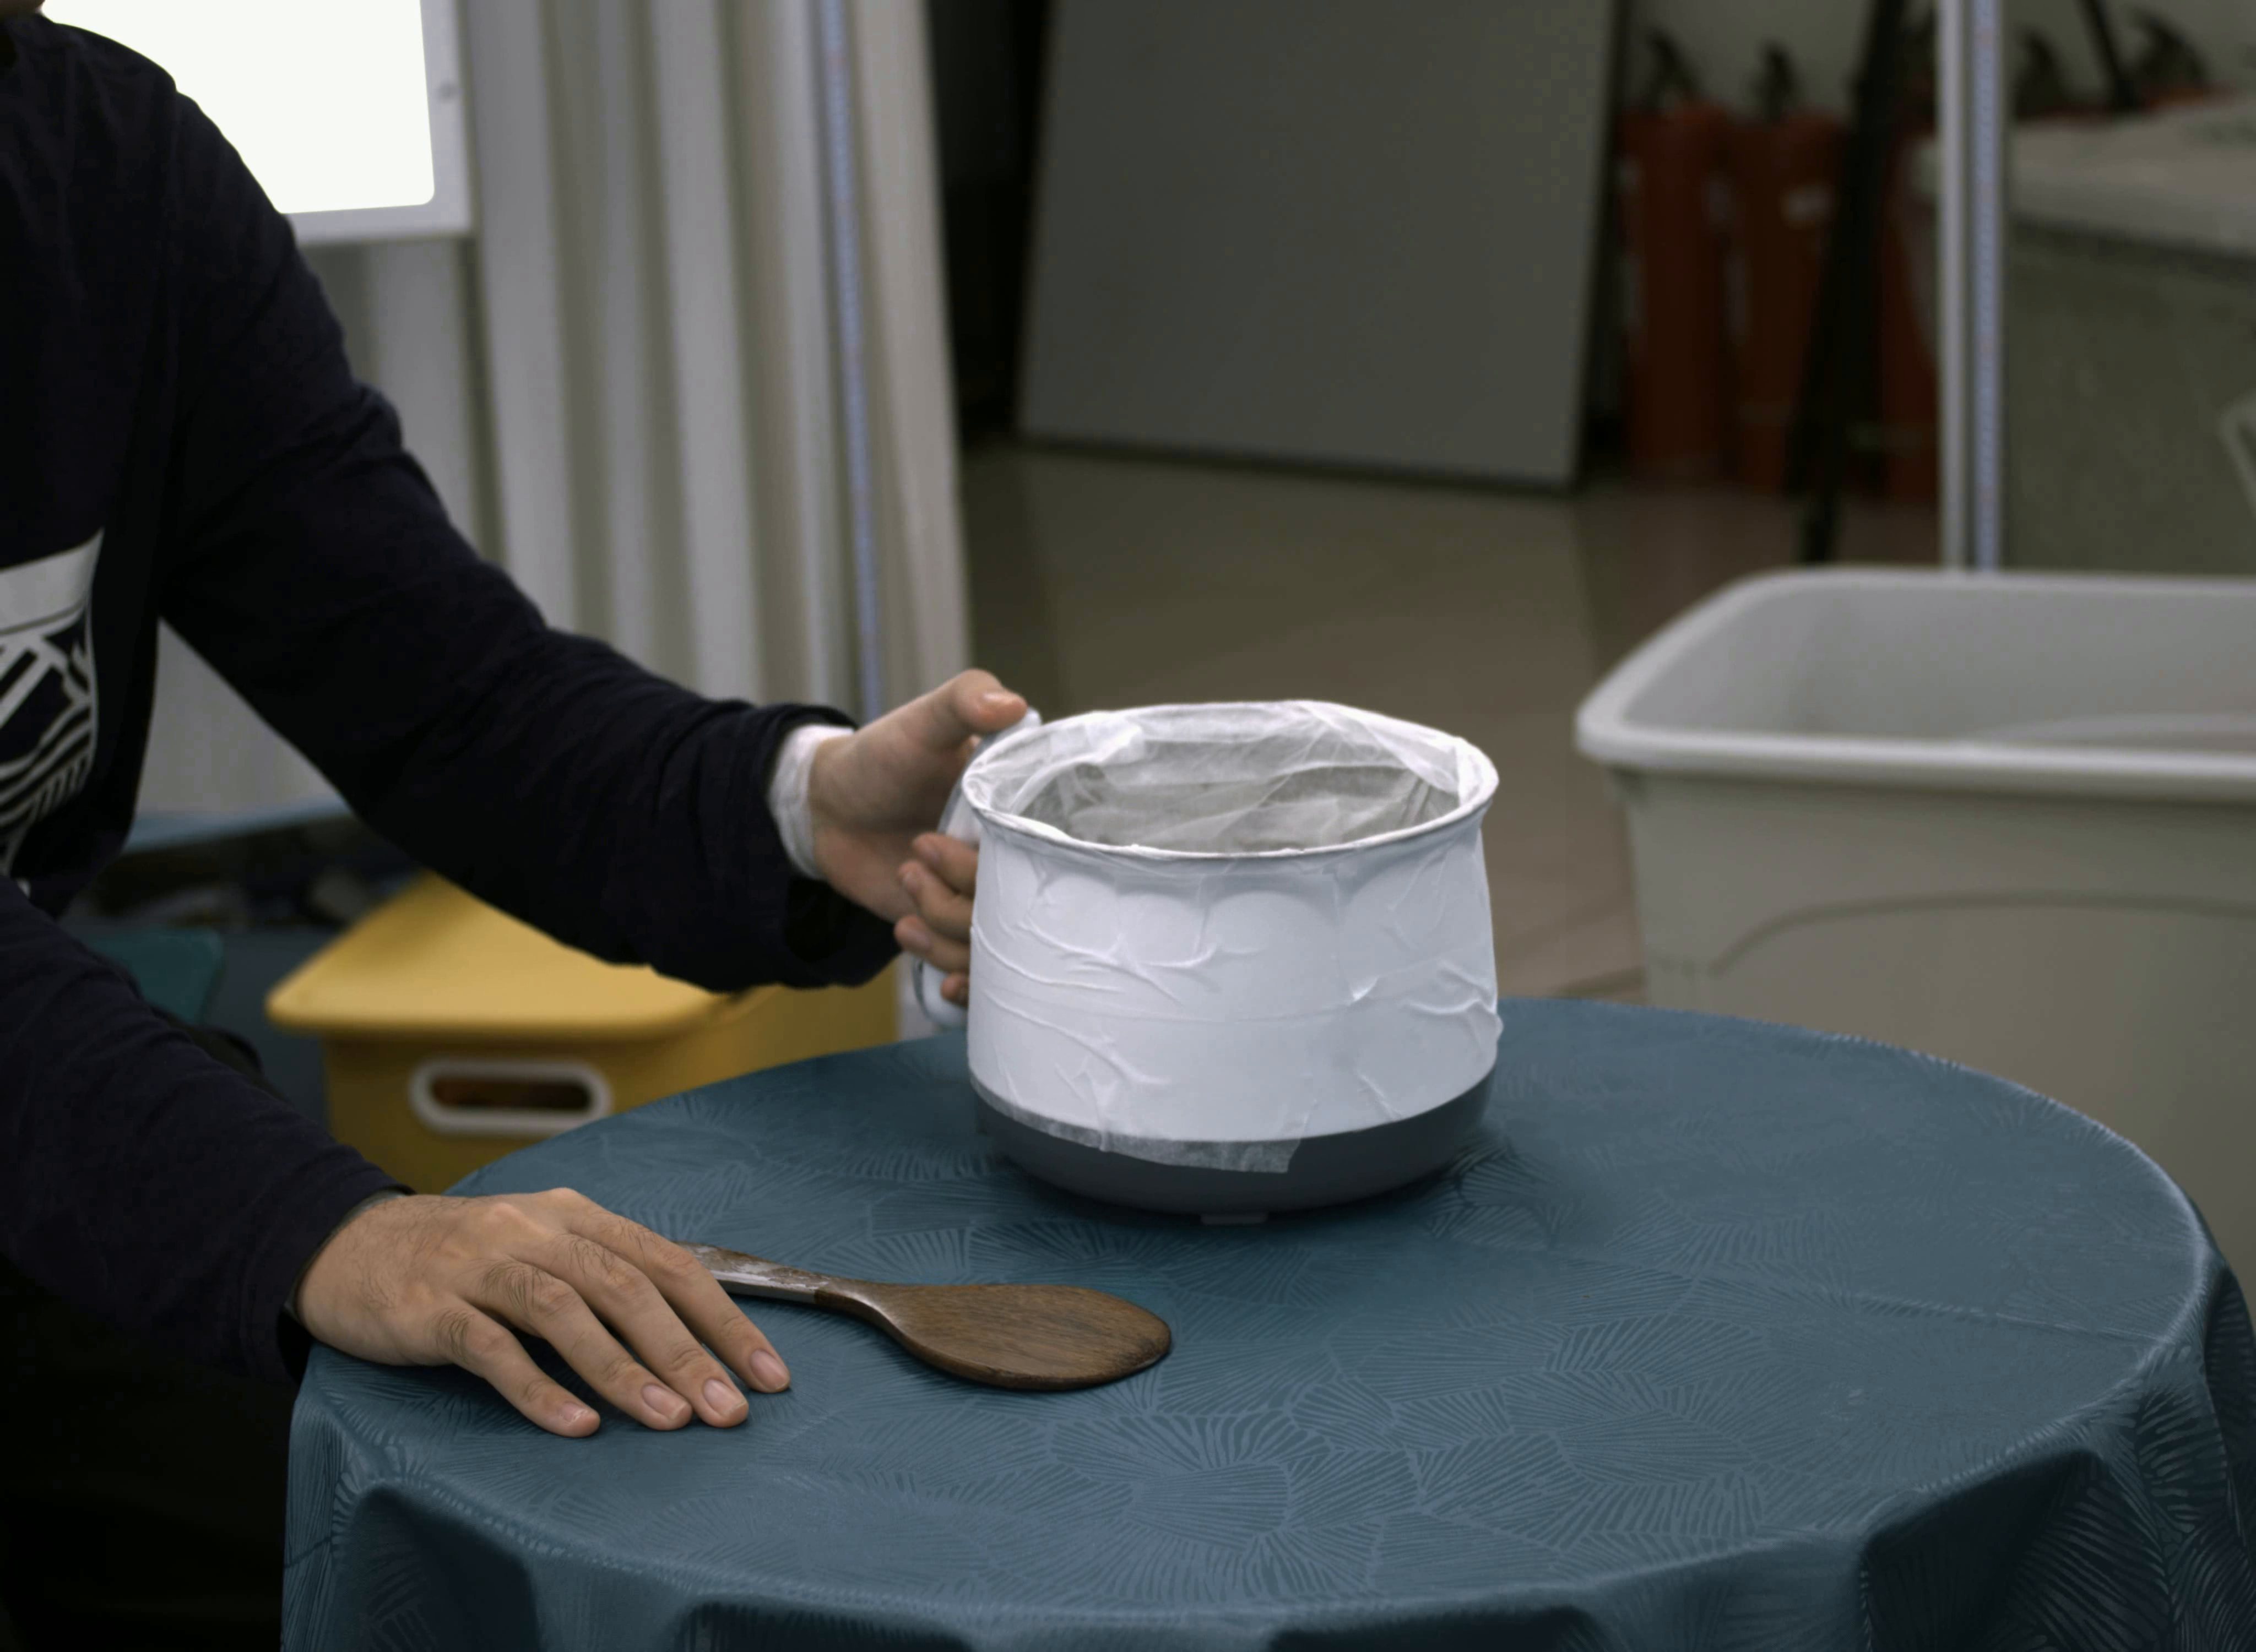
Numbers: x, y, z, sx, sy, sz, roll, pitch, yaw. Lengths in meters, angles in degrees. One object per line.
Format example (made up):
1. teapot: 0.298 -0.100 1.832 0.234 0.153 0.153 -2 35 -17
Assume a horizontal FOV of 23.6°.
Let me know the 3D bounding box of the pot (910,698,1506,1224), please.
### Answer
1. pot: 0.015 0.038 1.797 0.236 0.138 0.175 15 20 42

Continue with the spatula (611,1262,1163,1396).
1. spatula: -0.078 0.151 1.669 0.217 0.009 0.070 6 16 40
